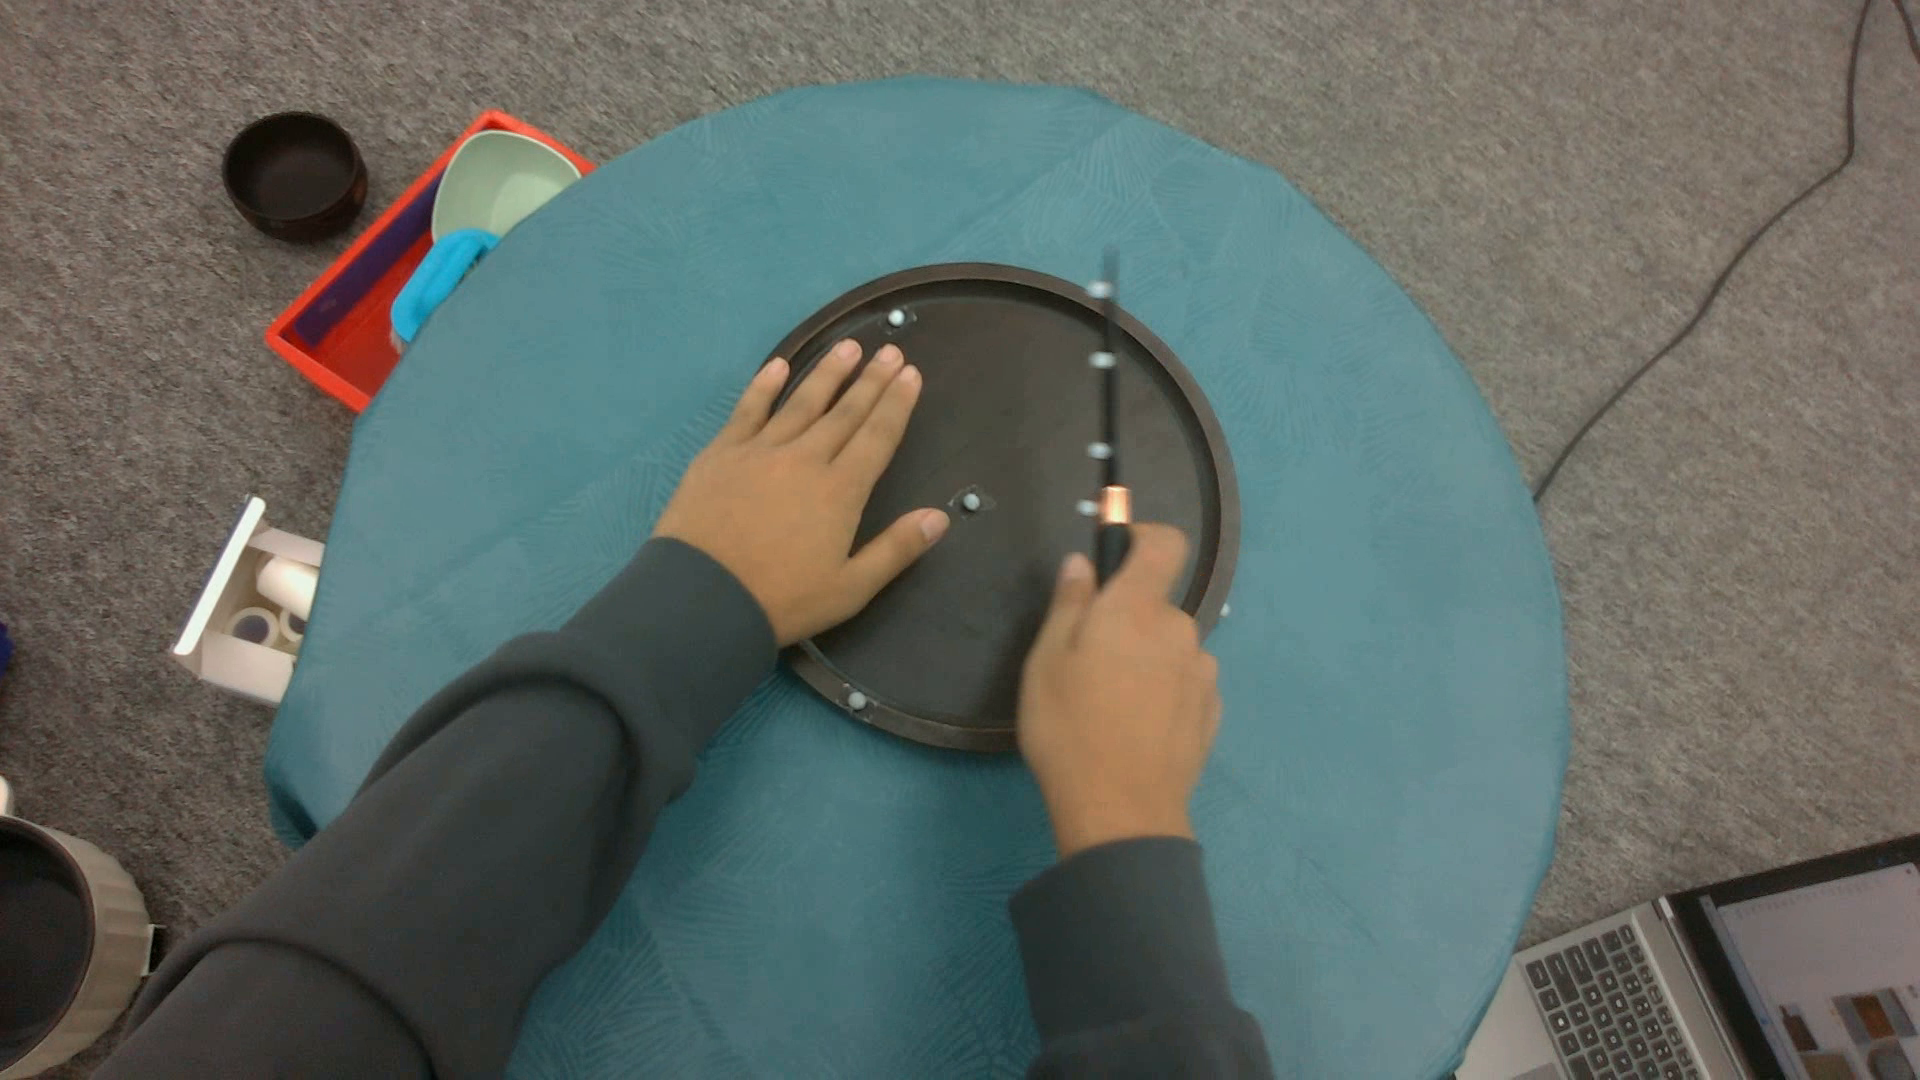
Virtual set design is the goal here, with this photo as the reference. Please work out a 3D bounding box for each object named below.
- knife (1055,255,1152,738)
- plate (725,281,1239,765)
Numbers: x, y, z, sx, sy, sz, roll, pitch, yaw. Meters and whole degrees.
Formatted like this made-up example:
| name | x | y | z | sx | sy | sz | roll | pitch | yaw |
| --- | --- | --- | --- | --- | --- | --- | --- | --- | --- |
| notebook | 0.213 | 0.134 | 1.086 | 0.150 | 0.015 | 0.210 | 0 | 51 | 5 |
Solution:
| name | x | y | z | sx | sy | sz | roll | pitch | yaw |
| --- | --- | --- | --- | --- | --- | --- | --- | --- | --- |
| knife | 0.063 | -0.023 | 0.623 | 0.017 | 0.026 | 0.226 | -7 | 83 | -8 |
| plate | 0.012 | -0.014 | 0.680 | 0.255 | 0.029 | 0.255 | 2 | 70 | -6 |
